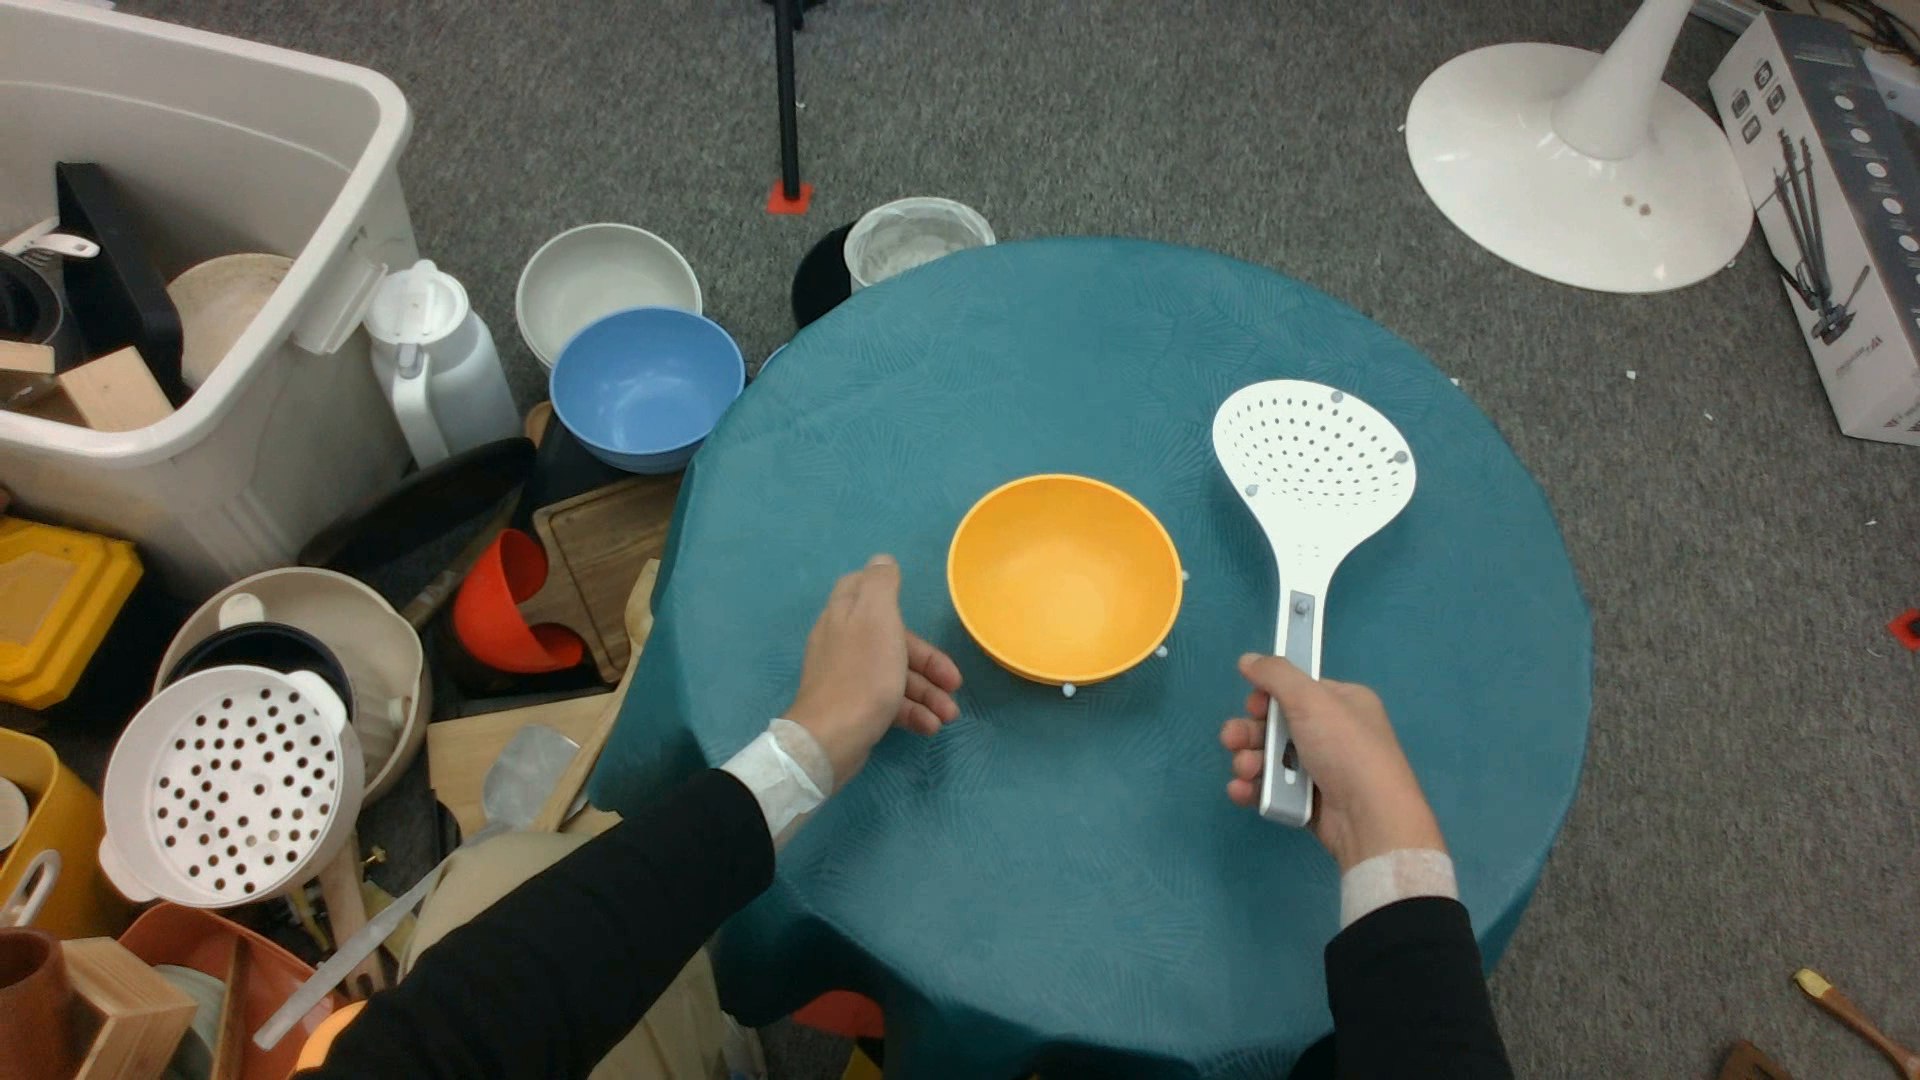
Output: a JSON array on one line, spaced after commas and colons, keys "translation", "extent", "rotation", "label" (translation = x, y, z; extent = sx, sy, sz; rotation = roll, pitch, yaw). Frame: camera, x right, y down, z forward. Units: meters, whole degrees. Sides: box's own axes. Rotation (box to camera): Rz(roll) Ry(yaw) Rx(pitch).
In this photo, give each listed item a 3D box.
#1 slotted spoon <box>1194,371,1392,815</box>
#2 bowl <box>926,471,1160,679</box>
[{"translation": [0.199, 0.018, 0.853], "extent": [0.136, 0.045, 0.351], "rotation": [14, 44, 2], "label": "slotted spoon"}, {"translation": [0.049, 0.031, 0.858], "extent": [0.145, 0.060, 0.146], "rotation": [3, 56, -4], "label": "bowl"}]
